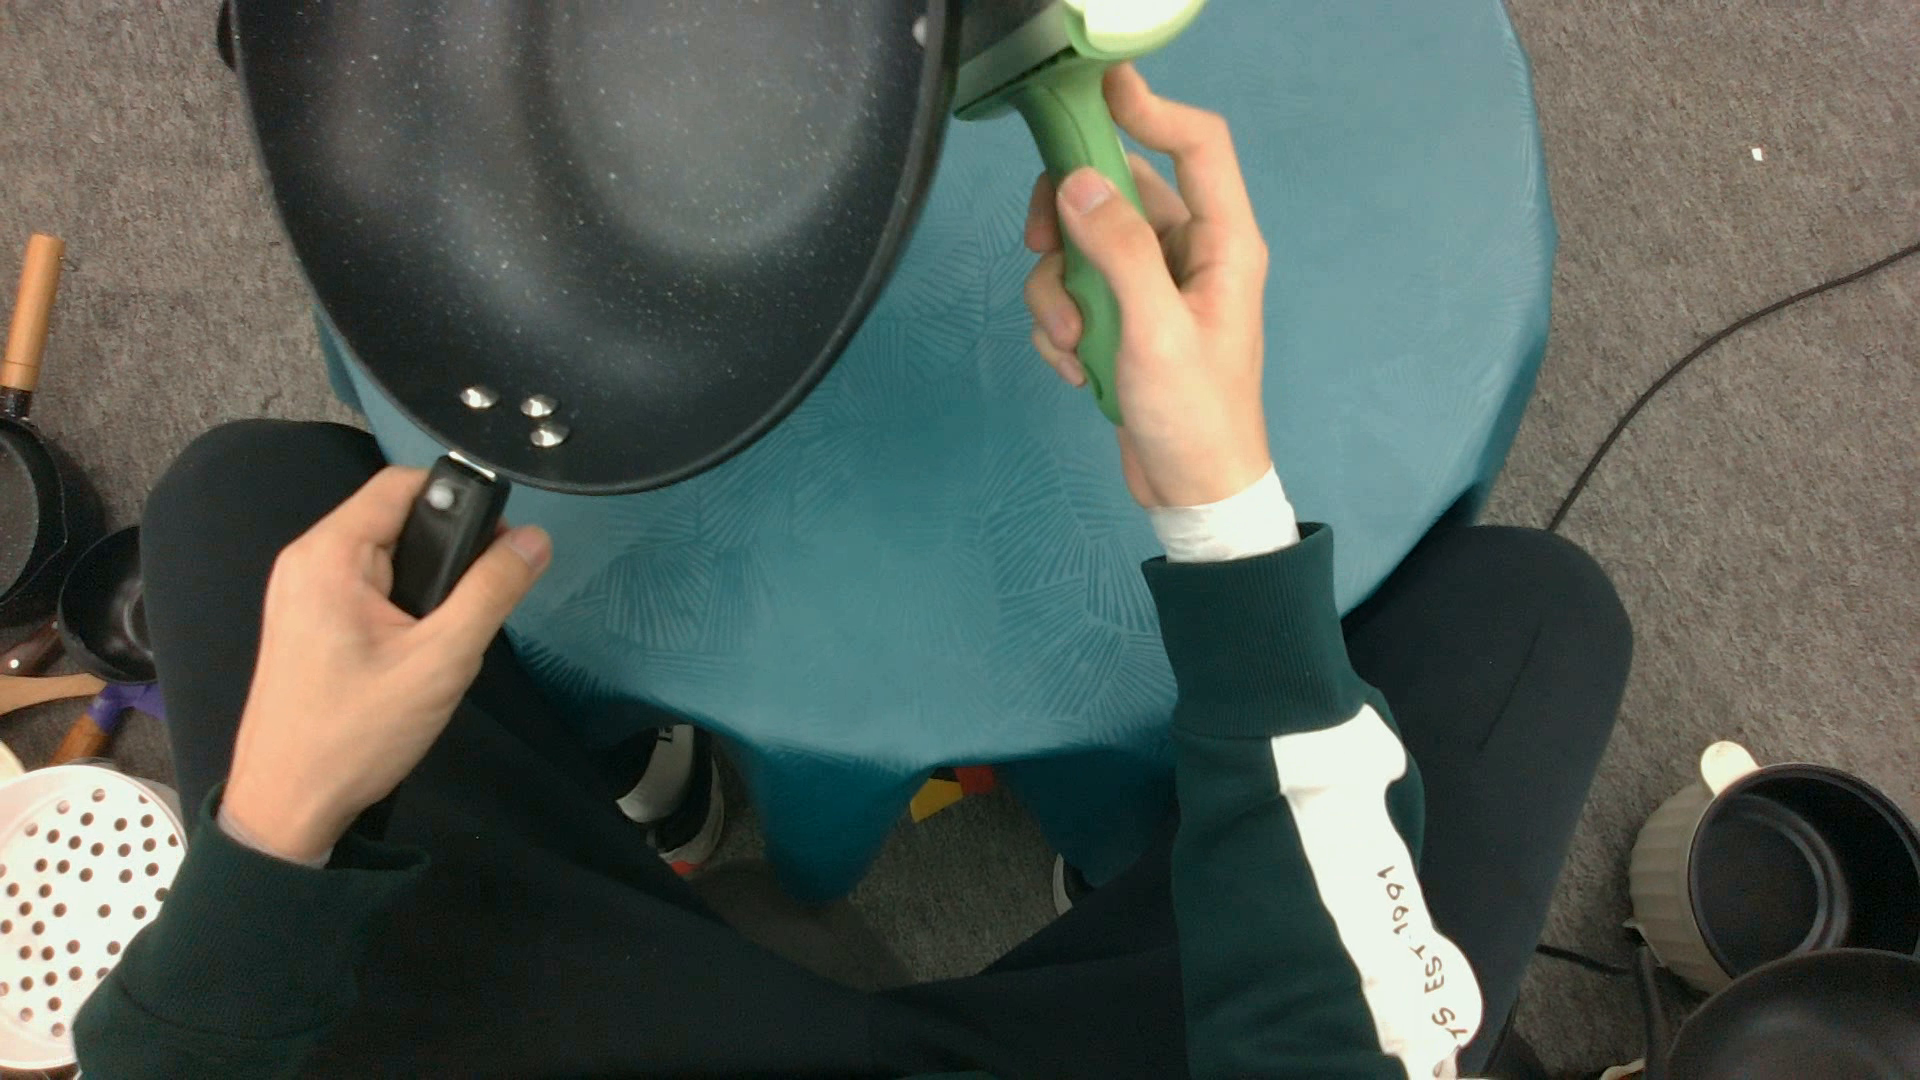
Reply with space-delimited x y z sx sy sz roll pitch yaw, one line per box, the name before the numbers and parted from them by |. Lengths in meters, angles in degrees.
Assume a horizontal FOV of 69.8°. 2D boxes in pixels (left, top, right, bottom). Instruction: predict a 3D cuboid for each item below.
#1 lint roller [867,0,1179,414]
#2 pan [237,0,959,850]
lint roller | 0.044 -0.139 0.476 0.082 0.198 0.183 -30 108 -9
pan | -0.146 -0.104 0.489 0.310 0.112 0.475 27 113 24
